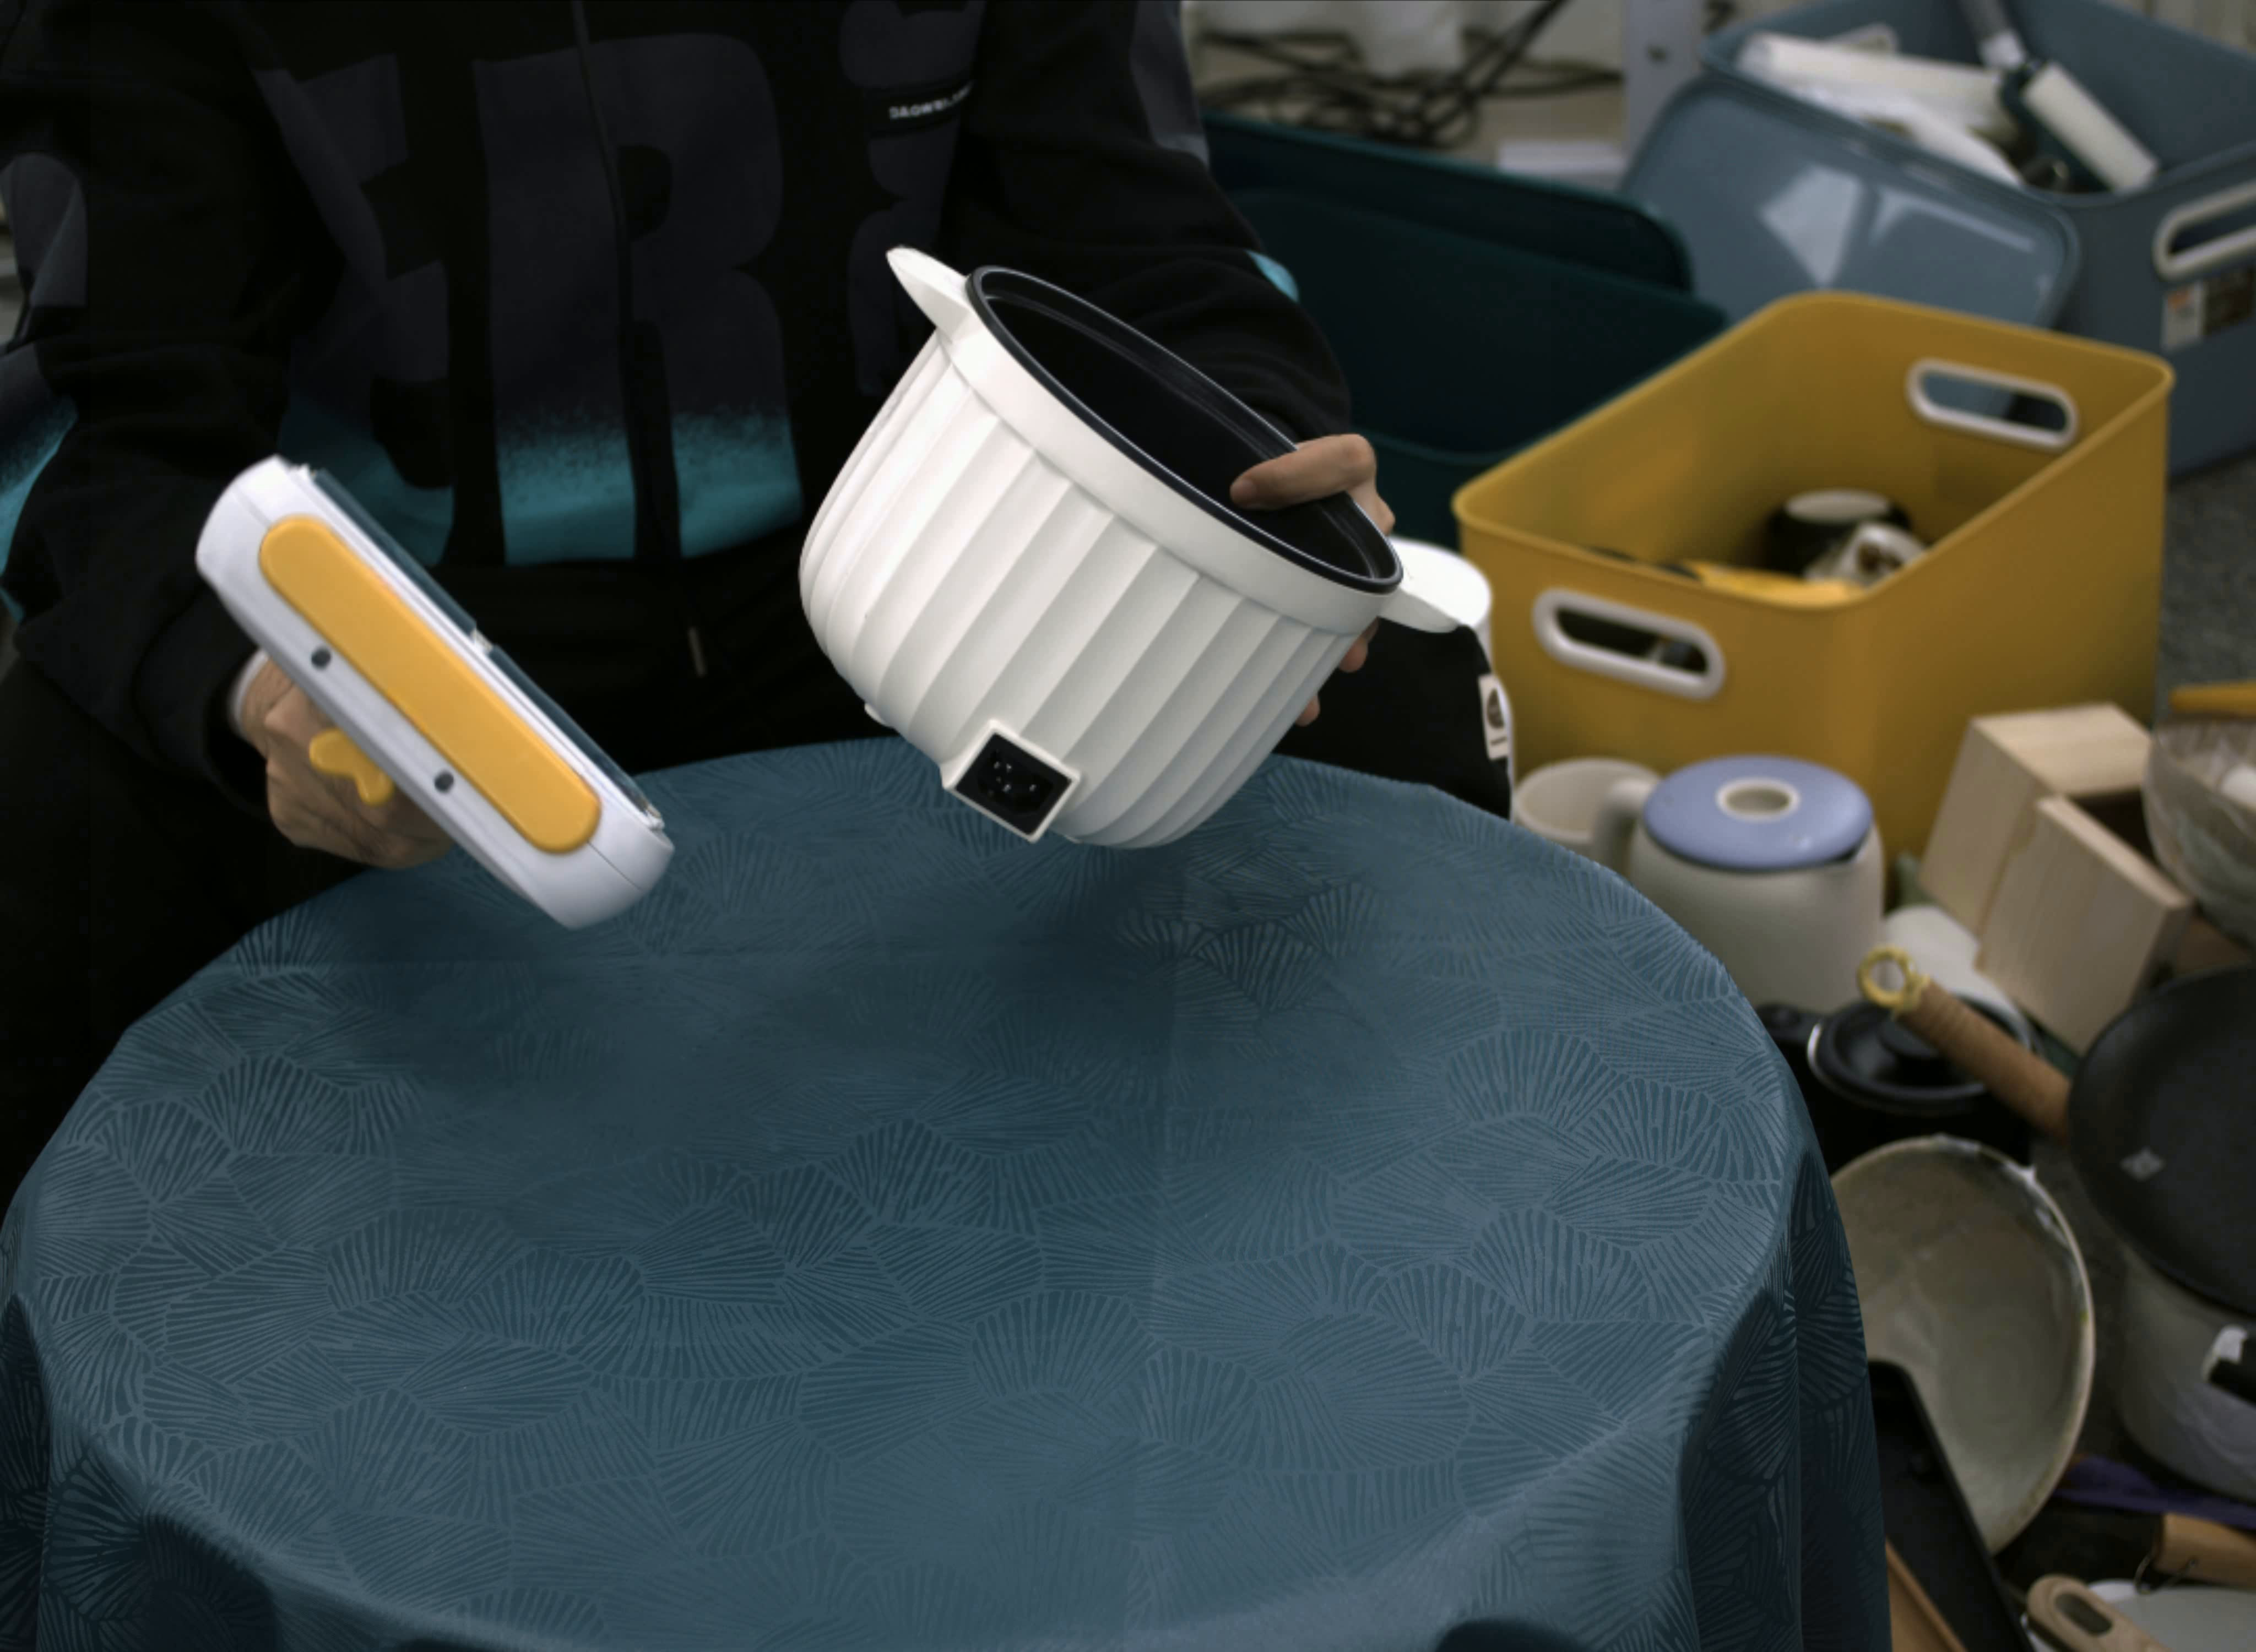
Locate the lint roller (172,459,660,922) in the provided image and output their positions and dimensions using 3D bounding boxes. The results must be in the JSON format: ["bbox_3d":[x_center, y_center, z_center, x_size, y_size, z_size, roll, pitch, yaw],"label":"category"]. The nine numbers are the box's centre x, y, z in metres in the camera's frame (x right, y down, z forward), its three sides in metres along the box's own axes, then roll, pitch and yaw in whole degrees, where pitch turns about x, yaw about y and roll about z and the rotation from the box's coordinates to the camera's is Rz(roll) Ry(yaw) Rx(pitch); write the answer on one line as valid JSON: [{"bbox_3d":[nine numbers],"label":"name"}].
[{"bbox_3d":[-0.243,-0.031,1.922,0.193,0.074,0.191,39,-9,3],"label":"lint roller"}]

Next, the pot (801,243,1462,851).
[{"bbox_3d":[-0.018,-0.087,1.938,0.239,0.141,0.193,33,17,-17],"label":"pot"}]
